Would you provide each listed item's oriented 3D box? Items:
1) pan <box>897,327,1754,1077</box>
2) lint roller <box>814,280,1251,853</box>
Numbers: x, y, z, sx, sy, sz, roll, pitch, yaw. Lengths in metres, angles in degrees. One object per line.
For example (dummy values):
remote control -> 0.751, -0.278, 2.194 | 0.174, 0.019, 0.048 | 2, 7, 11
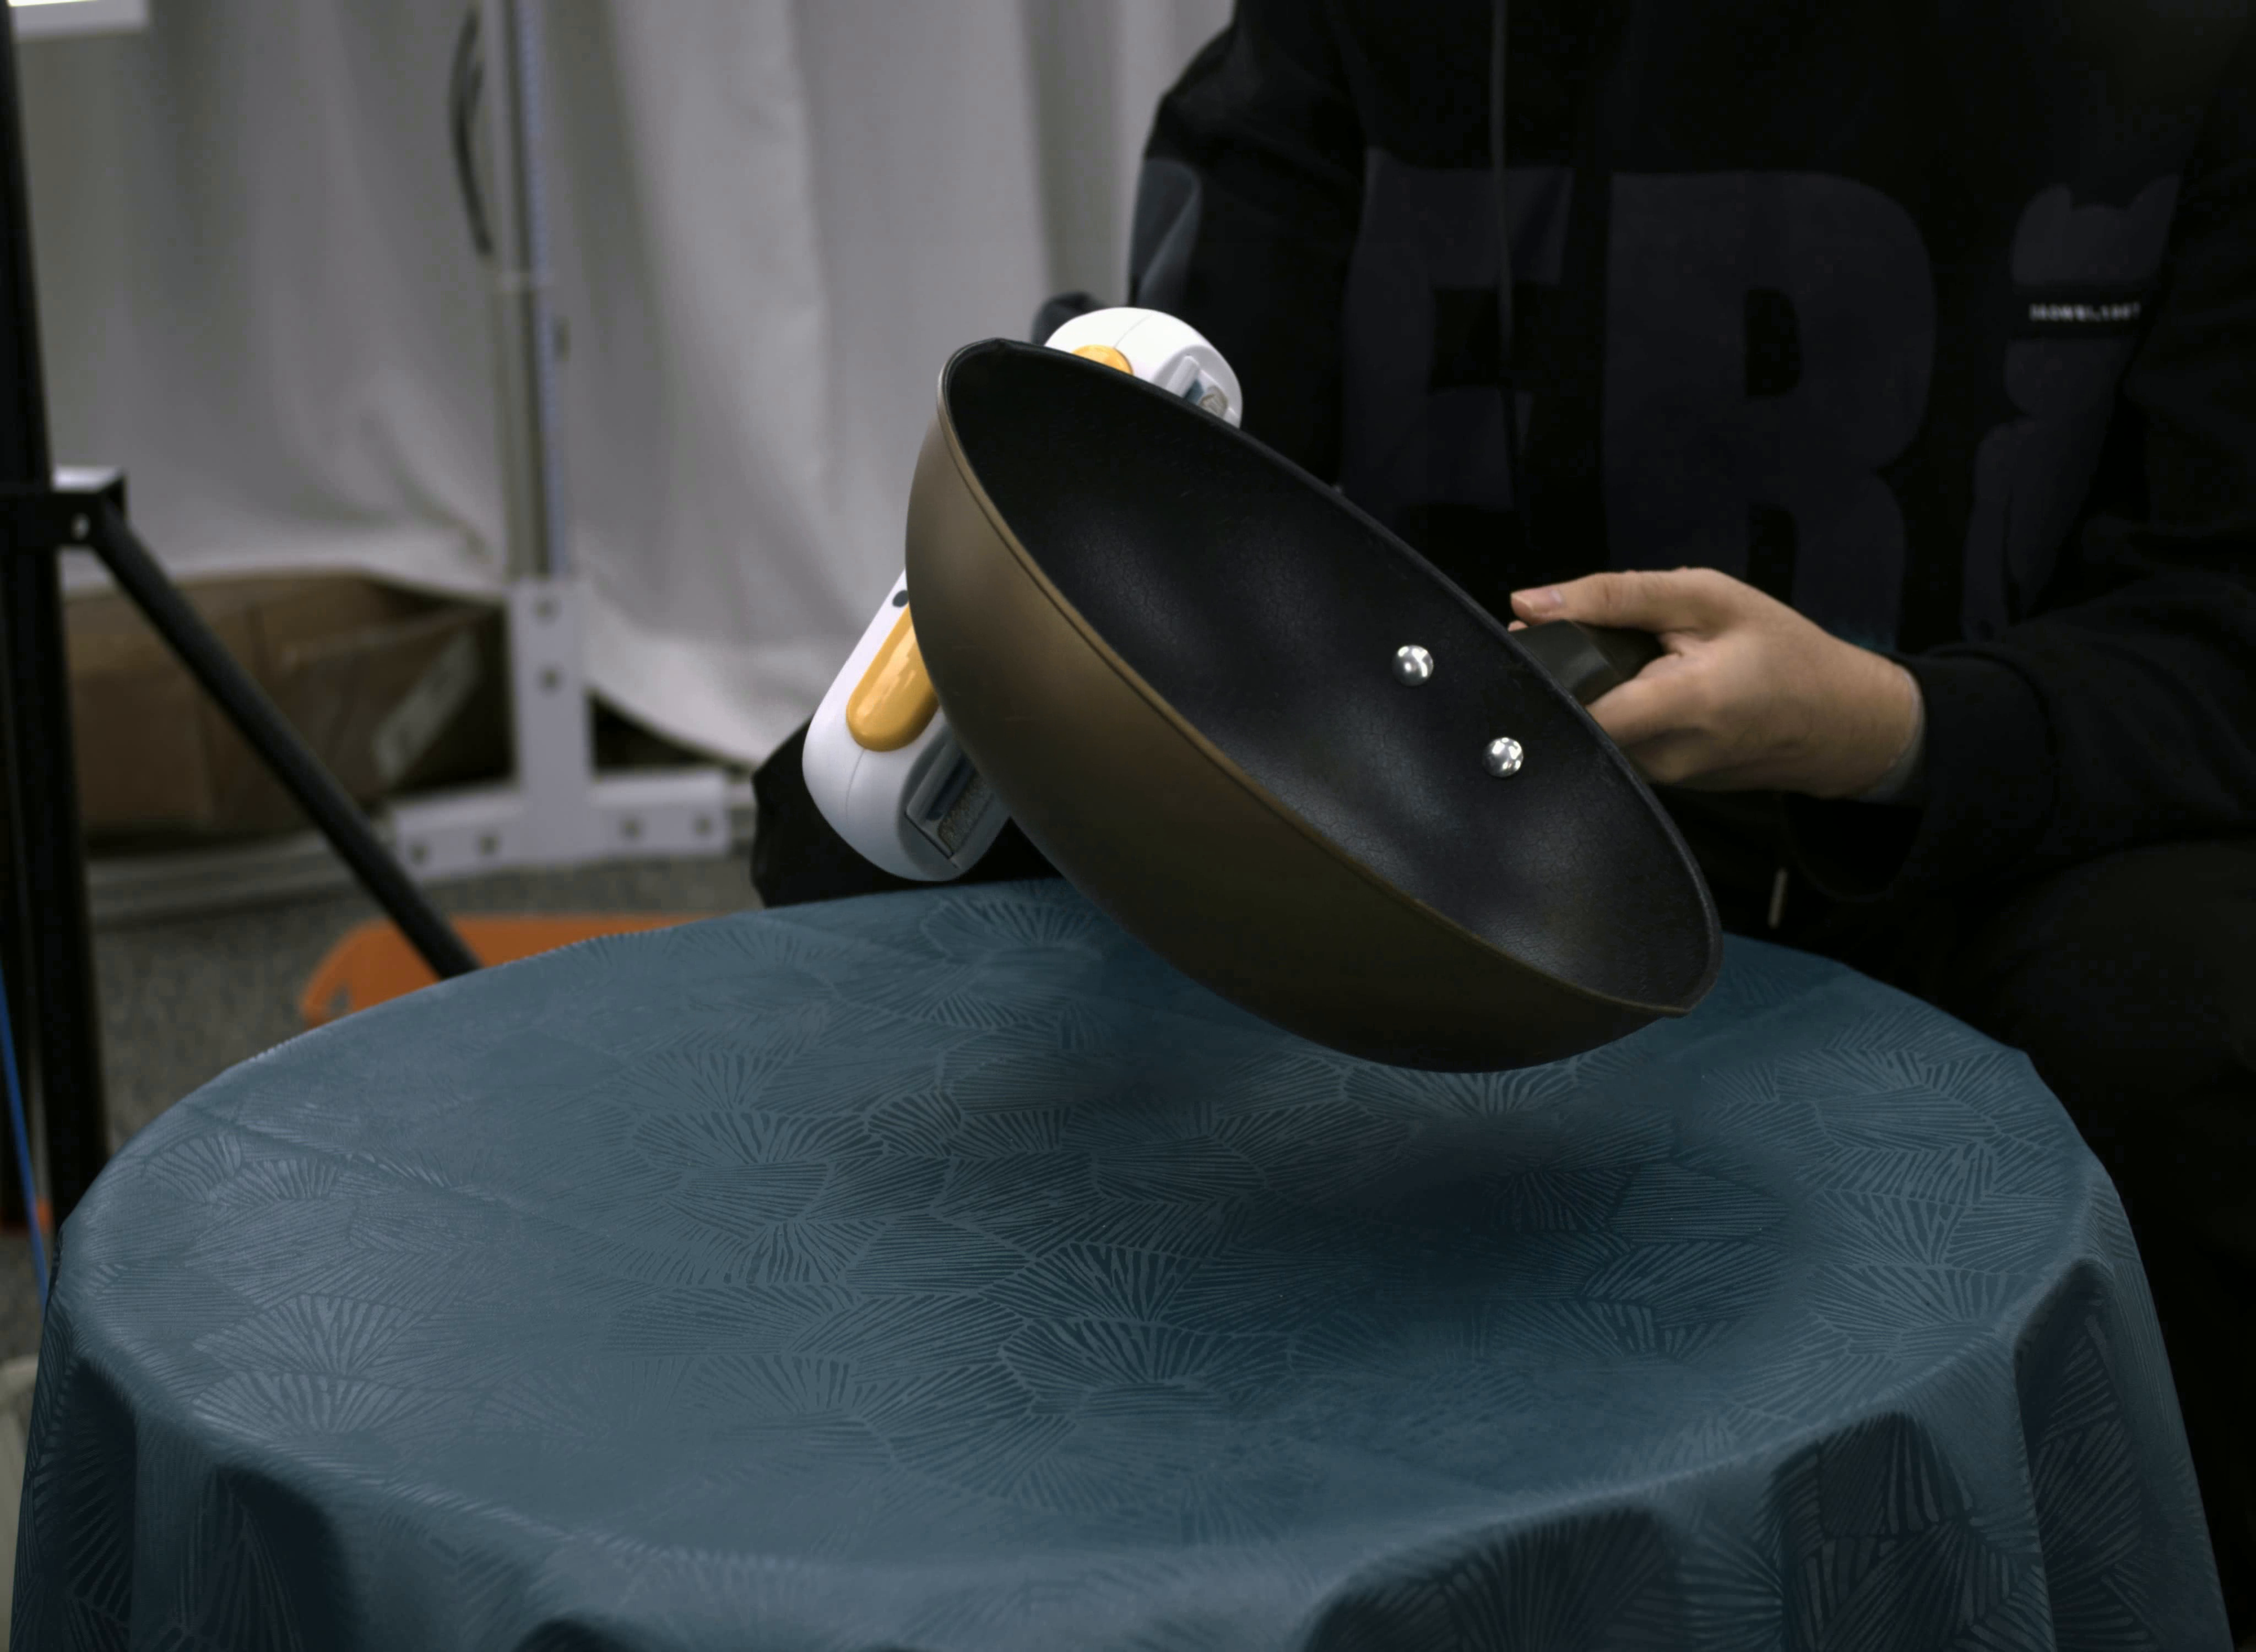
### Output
pan -> 0.076, -0.025, 1.607 | 0.292, 0.087, 0.454 | 46, 21, 18
lint roller -> -0.023, -0.059, 1.698 | 0.075, 0.193, 0.189 | 22, -17, 22
